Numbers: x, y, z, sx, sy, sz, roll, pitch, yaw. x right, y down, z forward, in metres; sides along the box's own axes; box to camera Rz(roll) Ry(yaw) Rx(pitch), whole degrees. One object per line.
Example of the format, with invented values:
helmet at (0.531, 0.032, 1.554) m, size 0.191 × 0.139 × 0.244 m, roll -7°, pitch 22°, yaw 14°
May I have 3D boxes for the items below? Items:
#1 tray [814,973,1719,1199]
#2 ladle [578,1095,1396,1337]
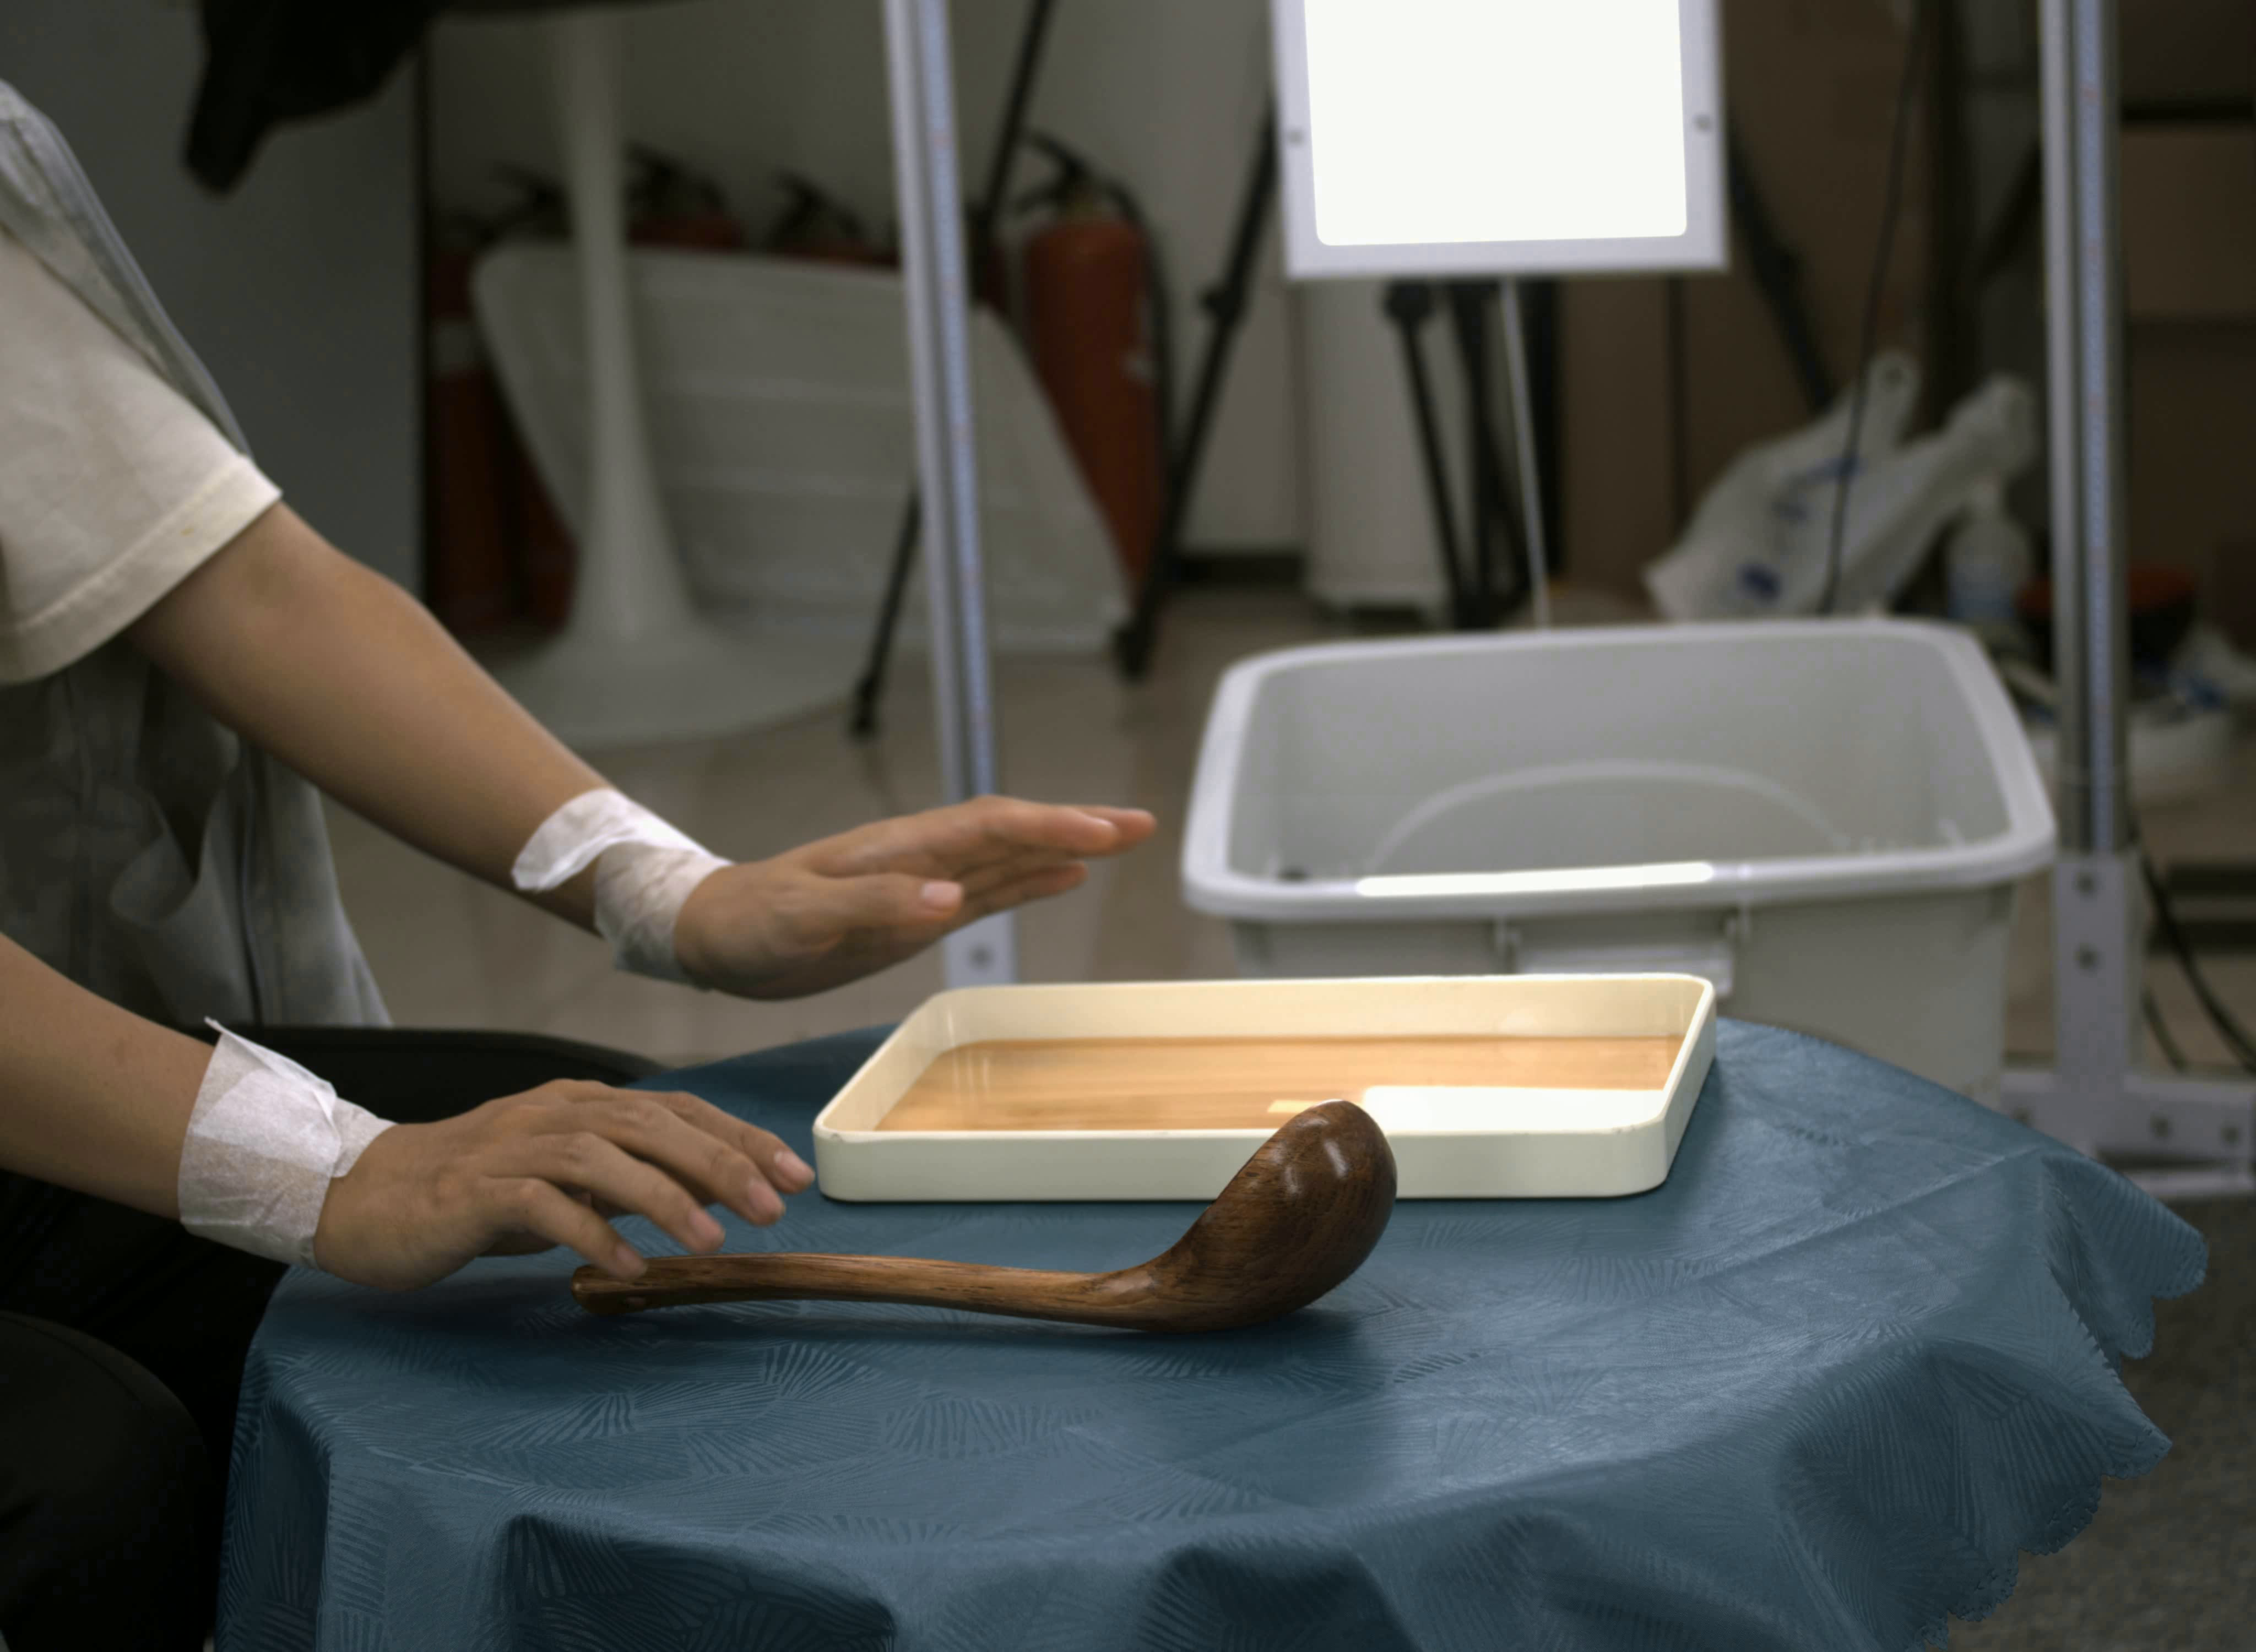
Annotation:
tray at (0.053, 0.092, 1.960) m, size 0.303 × 0.027 × 0.189 m, roll -1°, pitch 14°, yaw 15°
ladle at (-0.048, 0.124, 1.777) m, size 0.278 × 0.076 × 0.081 m, roll -1°, pitch -25°, yaw 22°
